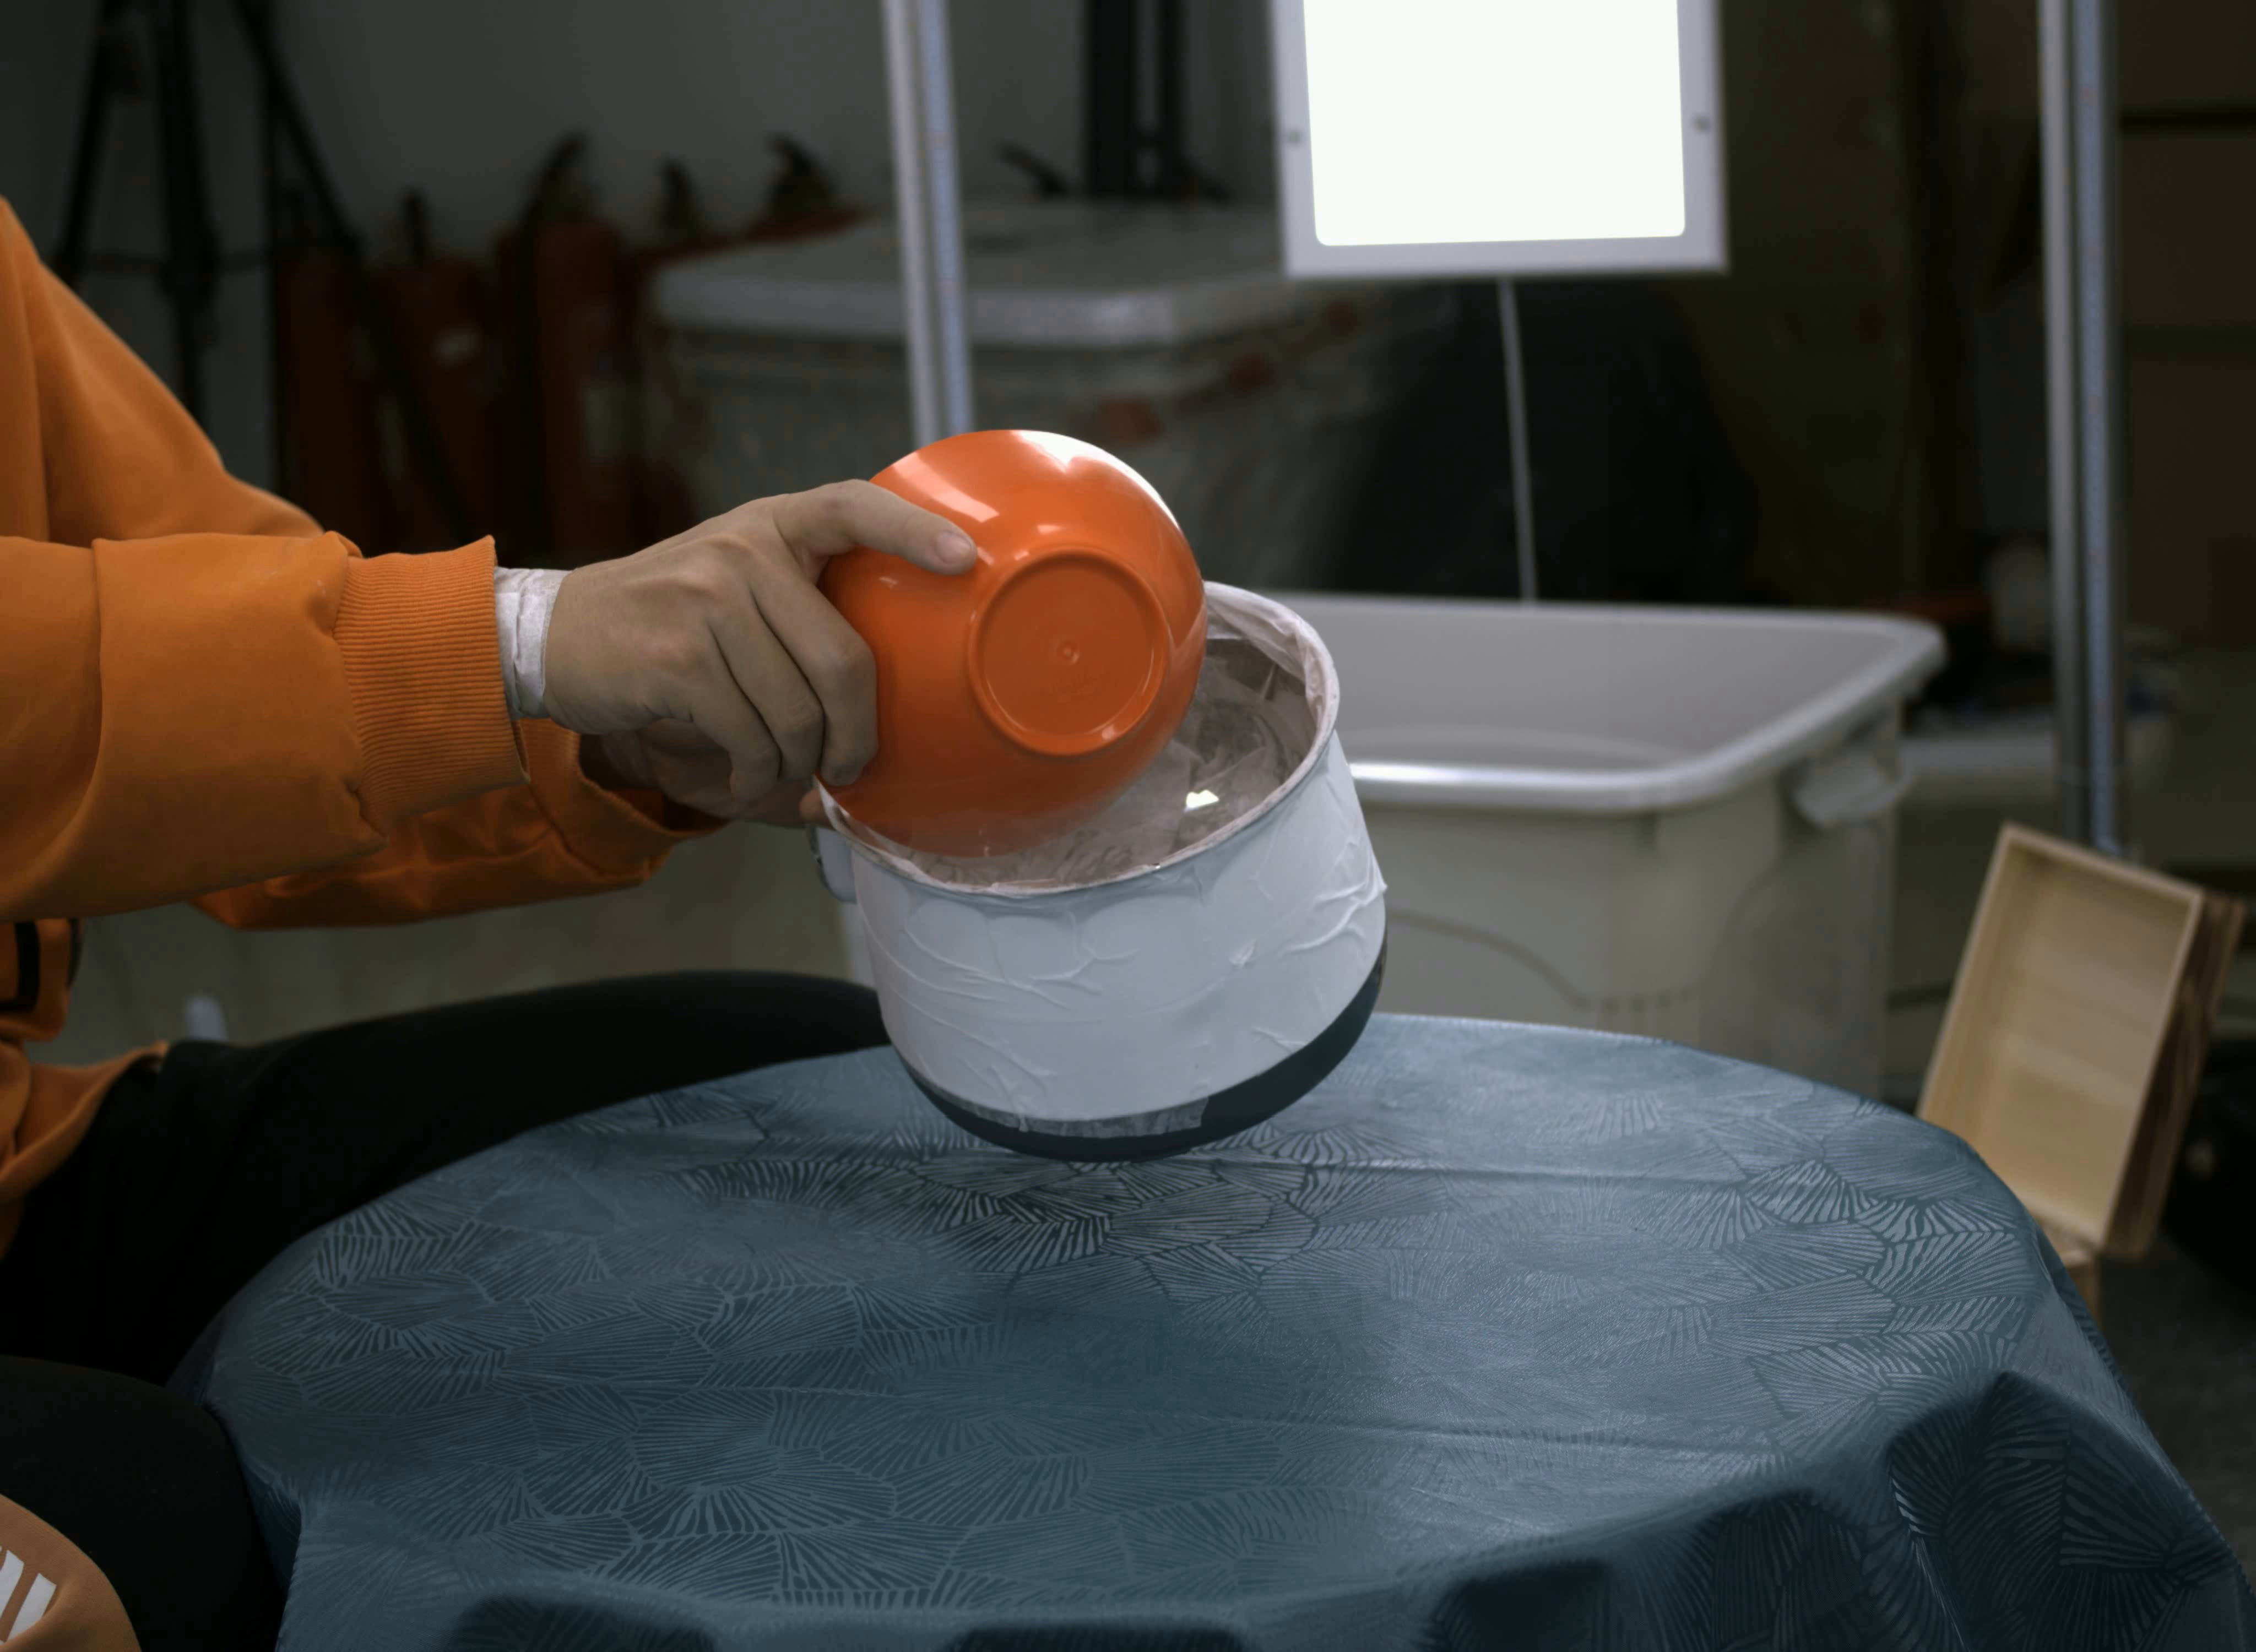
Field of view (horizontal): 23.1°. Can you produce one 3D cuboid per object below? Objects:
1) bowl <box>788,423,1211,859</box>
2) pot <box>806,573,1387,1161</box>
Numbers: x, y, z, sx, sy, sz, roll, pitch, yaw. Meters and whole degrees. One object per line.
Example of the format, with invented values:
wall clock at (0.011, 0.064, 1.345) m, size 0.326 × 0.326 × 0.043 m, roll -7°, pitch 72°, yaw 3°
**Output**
bowl at (-0.029, -0.054, 1.775) m, size 0.146 × 0.148 × 0.106 m, roll -8°, pitch 12°, yaw -16°
pot at (-0.025, 0.009, 1.879) m, size 0.238 × 0.136 × 0.175 m, roll 20°, pitch 47°, yaw 39°
